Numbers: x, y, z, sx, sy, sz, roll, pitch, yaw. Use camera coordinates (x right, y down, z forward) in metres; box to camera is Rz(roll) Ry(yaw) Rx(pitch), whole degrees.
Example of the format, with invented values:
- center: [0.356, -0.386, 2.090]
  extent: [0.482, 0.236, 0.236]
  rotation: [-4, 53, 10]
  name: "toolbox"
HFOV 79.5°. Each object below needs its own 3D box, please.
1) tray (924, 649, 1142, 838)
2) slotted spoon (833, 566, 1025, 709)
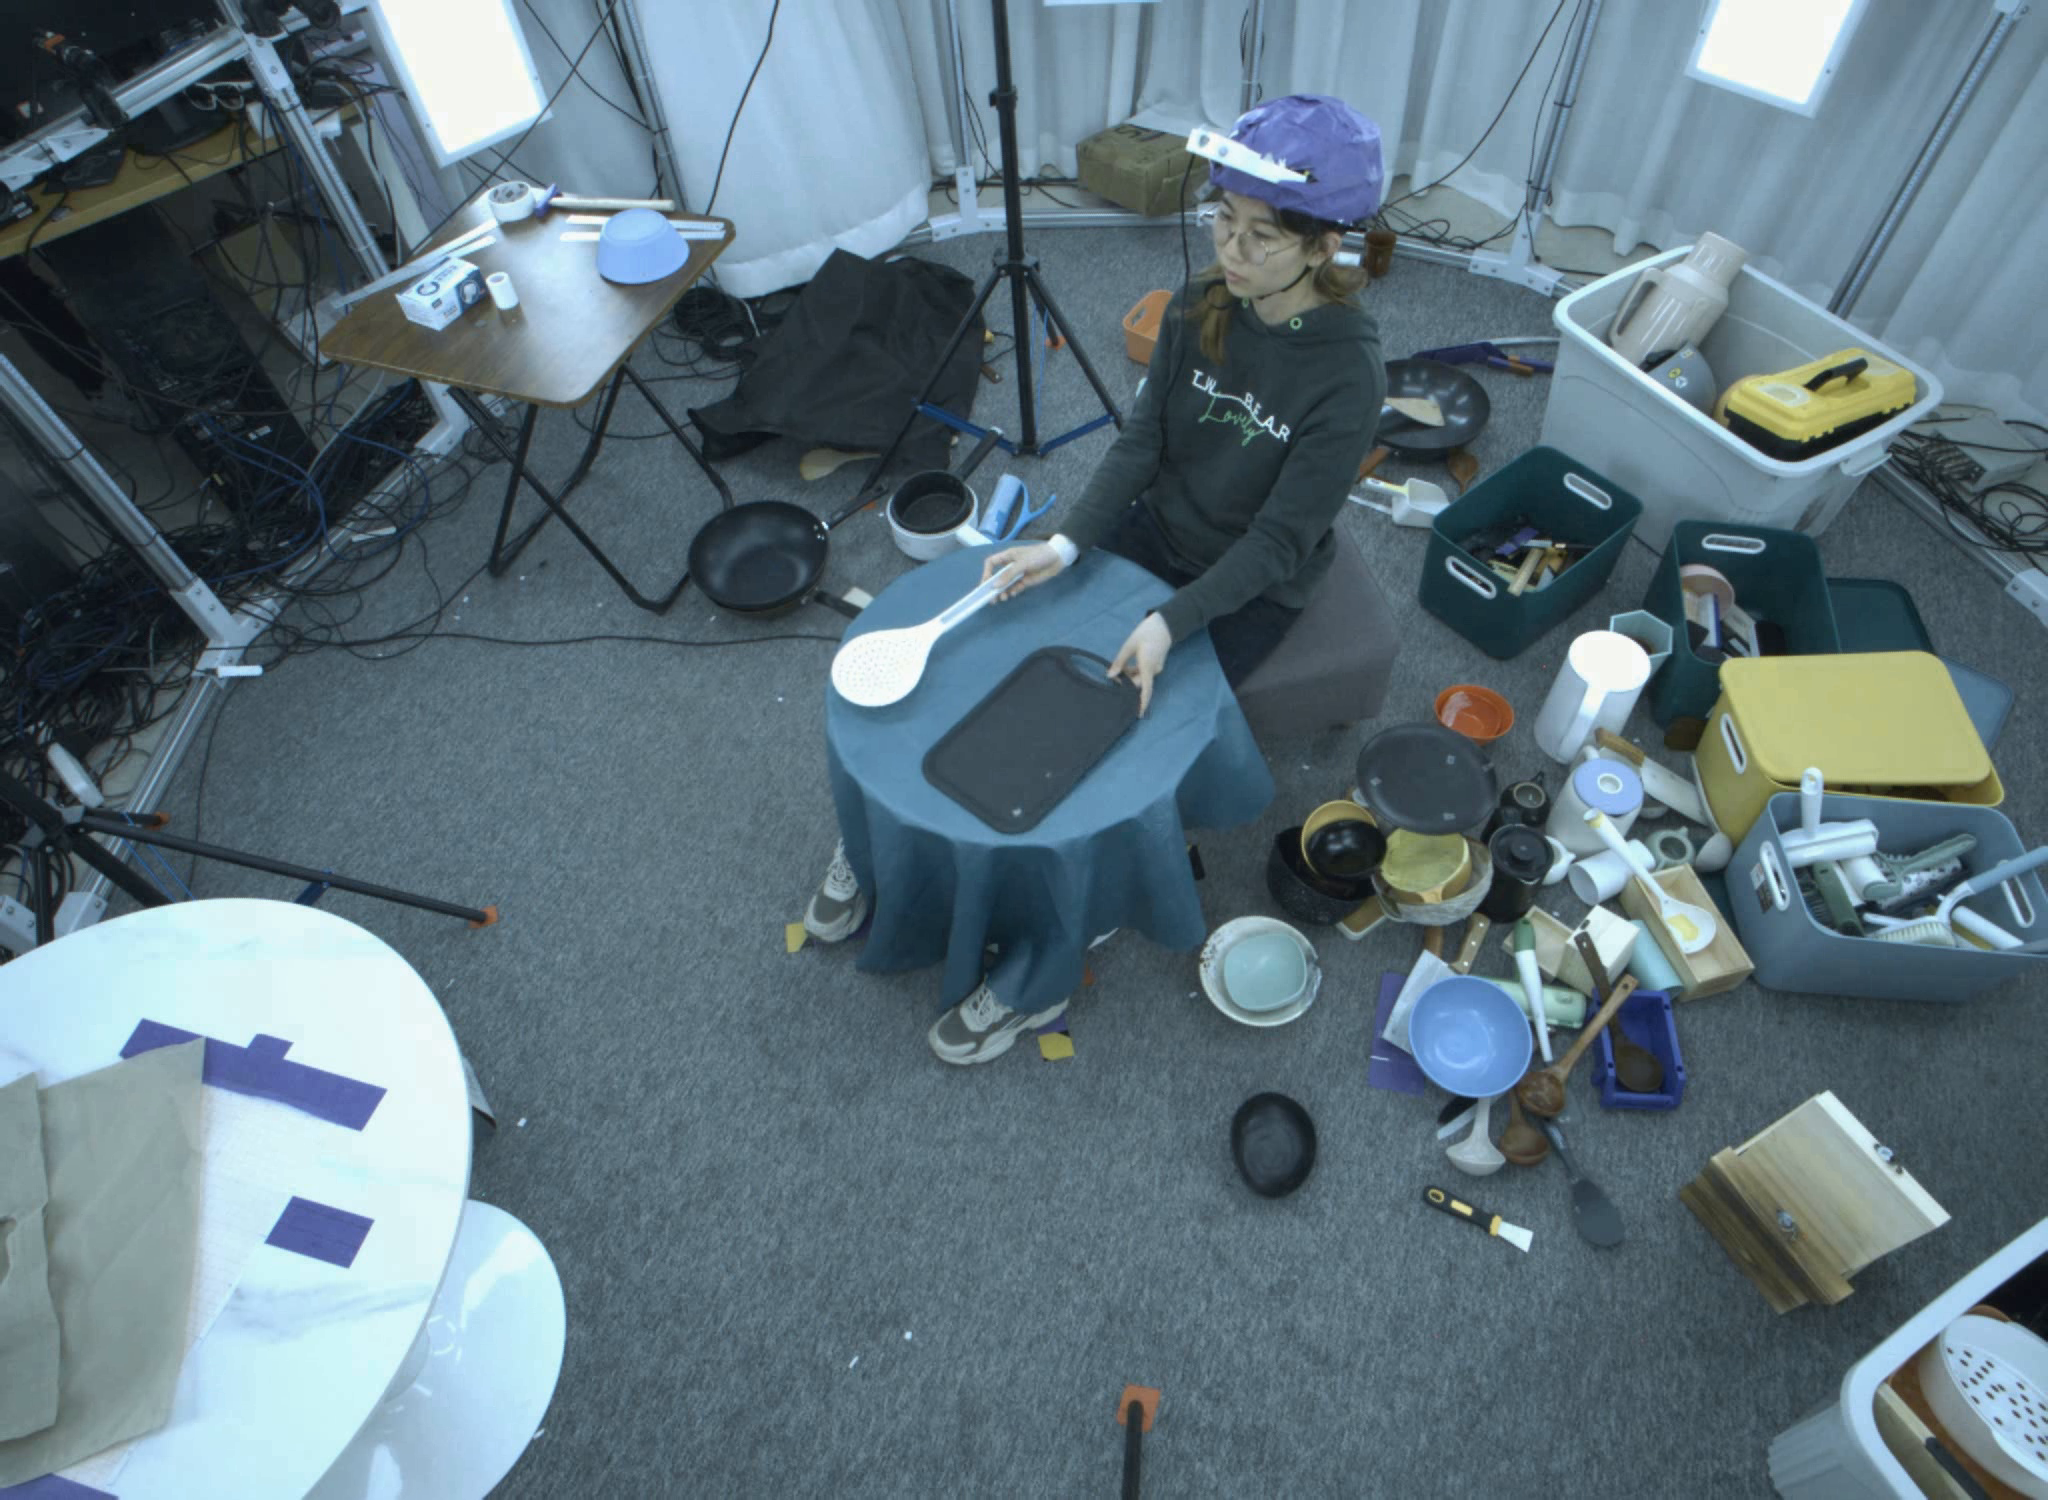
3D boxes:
- center: [0.020, -0.023, 1.801]
  extent: [0.207, 0.010, 0.327]
  rotation: [35, 65, 23]
  name: "tray"
- center: [-0.138, -0.180, 1.879]
  extent: [0.351, 0.046, 0.134]
  rotation: [-40, 67, -14]
  name: "slotted spoon"
